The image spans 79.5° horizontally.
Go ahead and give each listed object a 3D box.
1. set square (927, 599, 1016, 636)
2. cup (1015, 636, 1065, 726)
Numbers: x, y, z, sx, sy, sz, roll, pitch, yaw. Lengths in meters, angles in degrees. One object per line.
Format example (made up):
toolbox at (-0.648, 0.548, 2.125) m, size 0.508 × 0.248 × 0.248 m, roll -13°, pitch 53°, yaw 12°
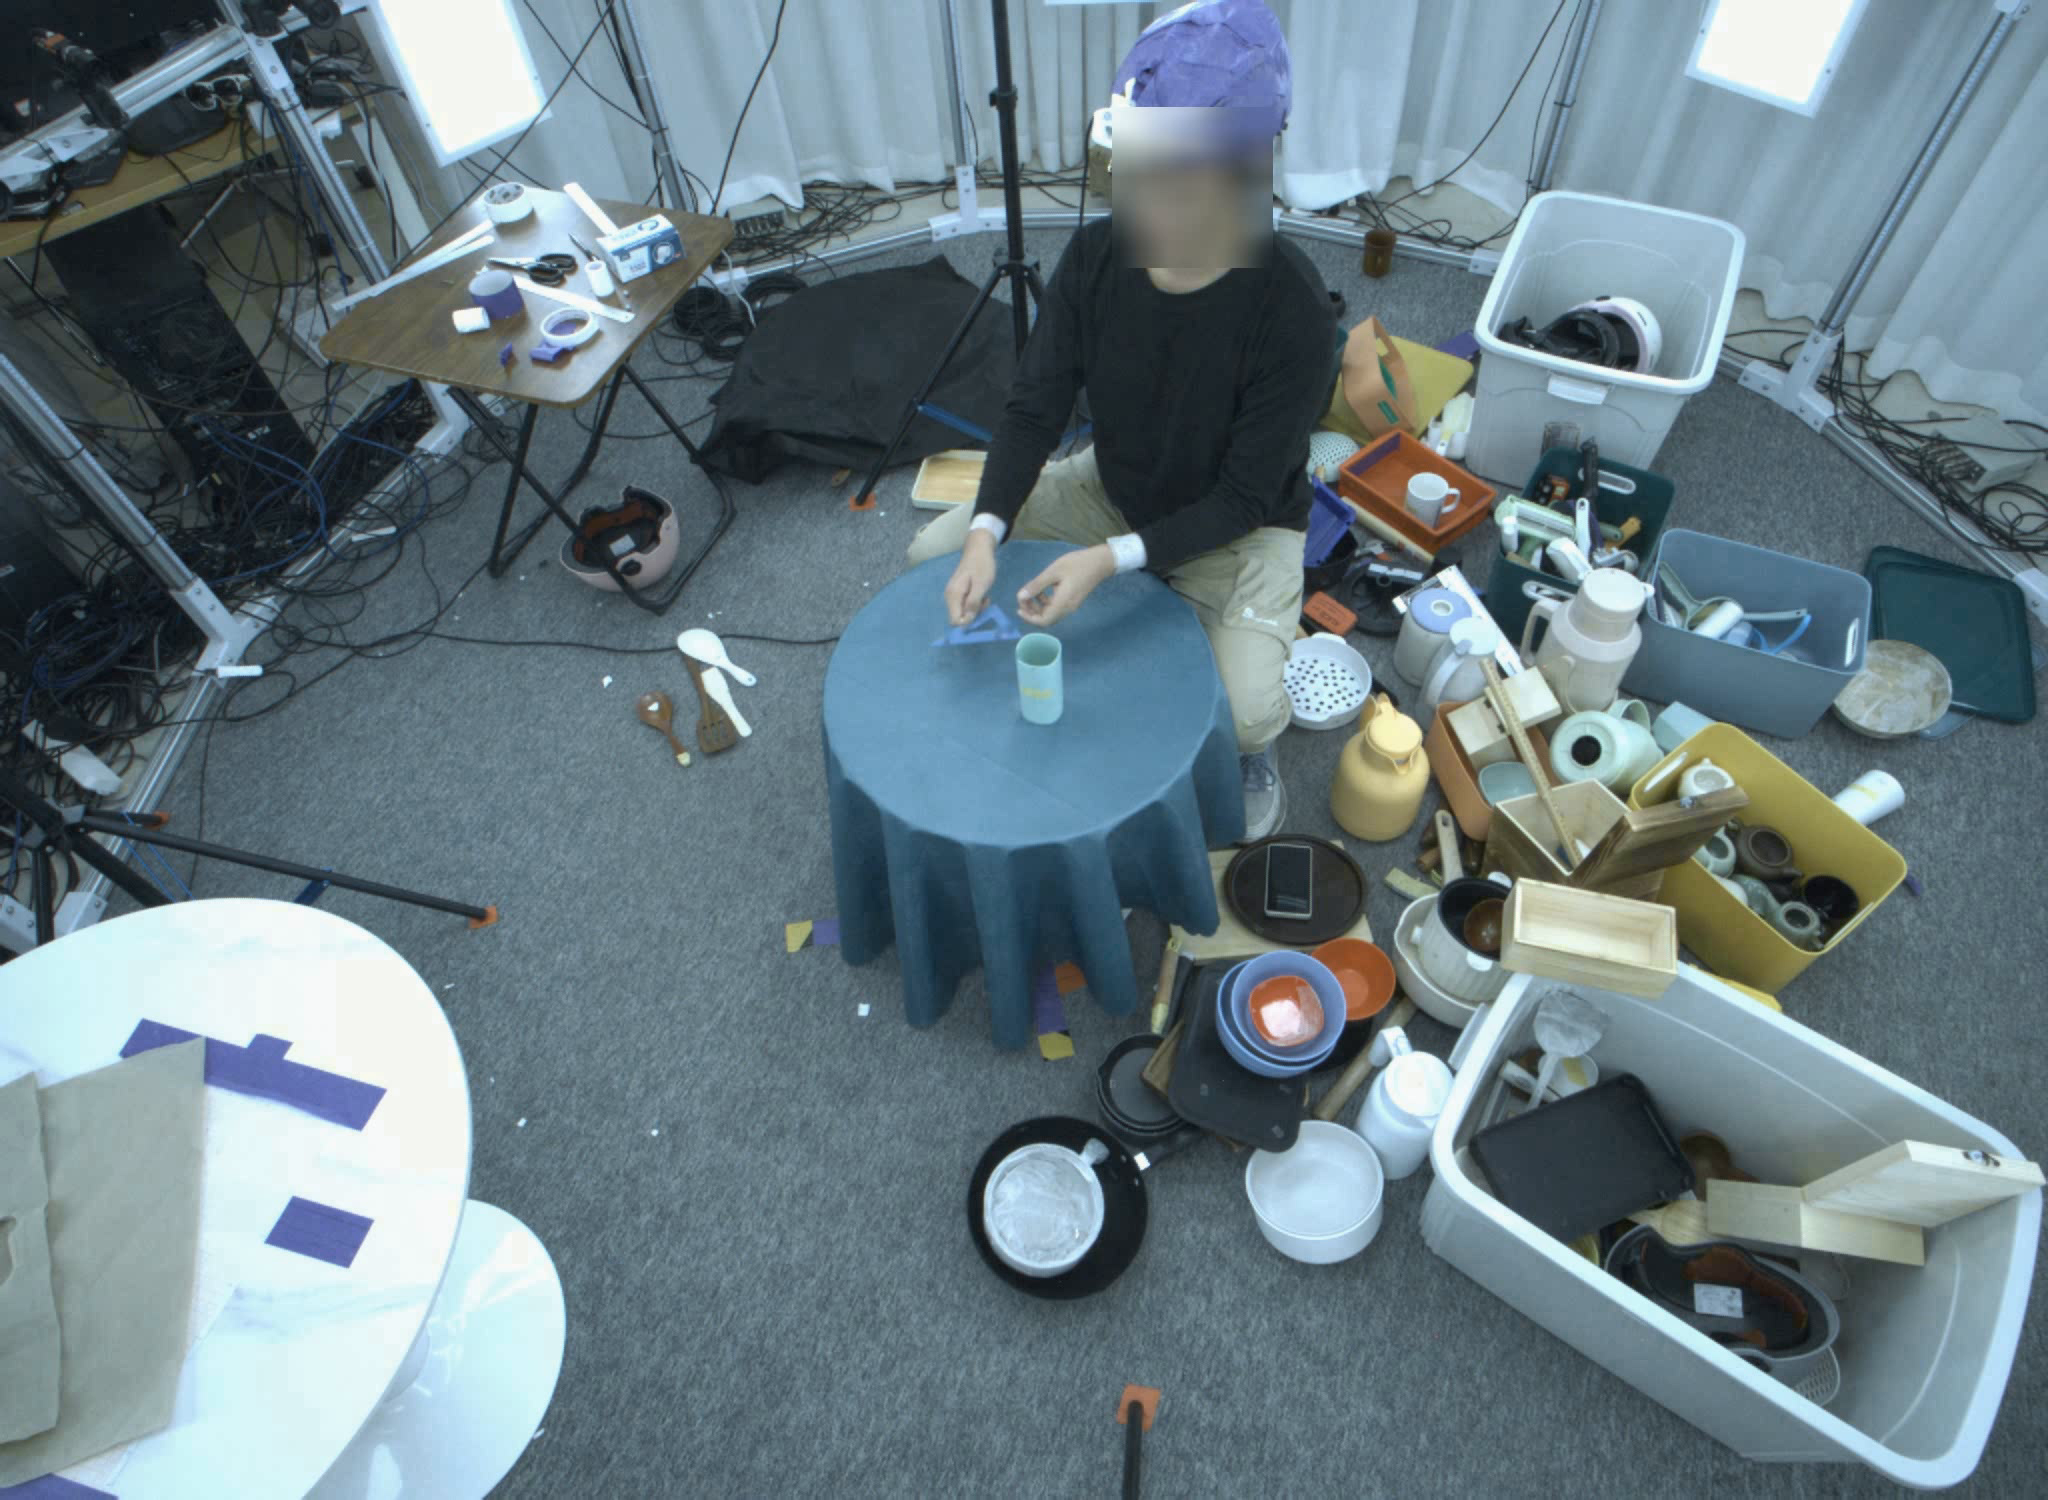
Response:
set square at (-0.079, -0.197, 1.817) m, size 0.132 × 0.006 × 0.060 m, roll -1°, pitch 69°, yaw -2°
cup at (0.025, -0.100, 1.782) m, size 0.066 × 0.134 × 0.066 m, roll -2°, pitch 55°, yaw 4°
